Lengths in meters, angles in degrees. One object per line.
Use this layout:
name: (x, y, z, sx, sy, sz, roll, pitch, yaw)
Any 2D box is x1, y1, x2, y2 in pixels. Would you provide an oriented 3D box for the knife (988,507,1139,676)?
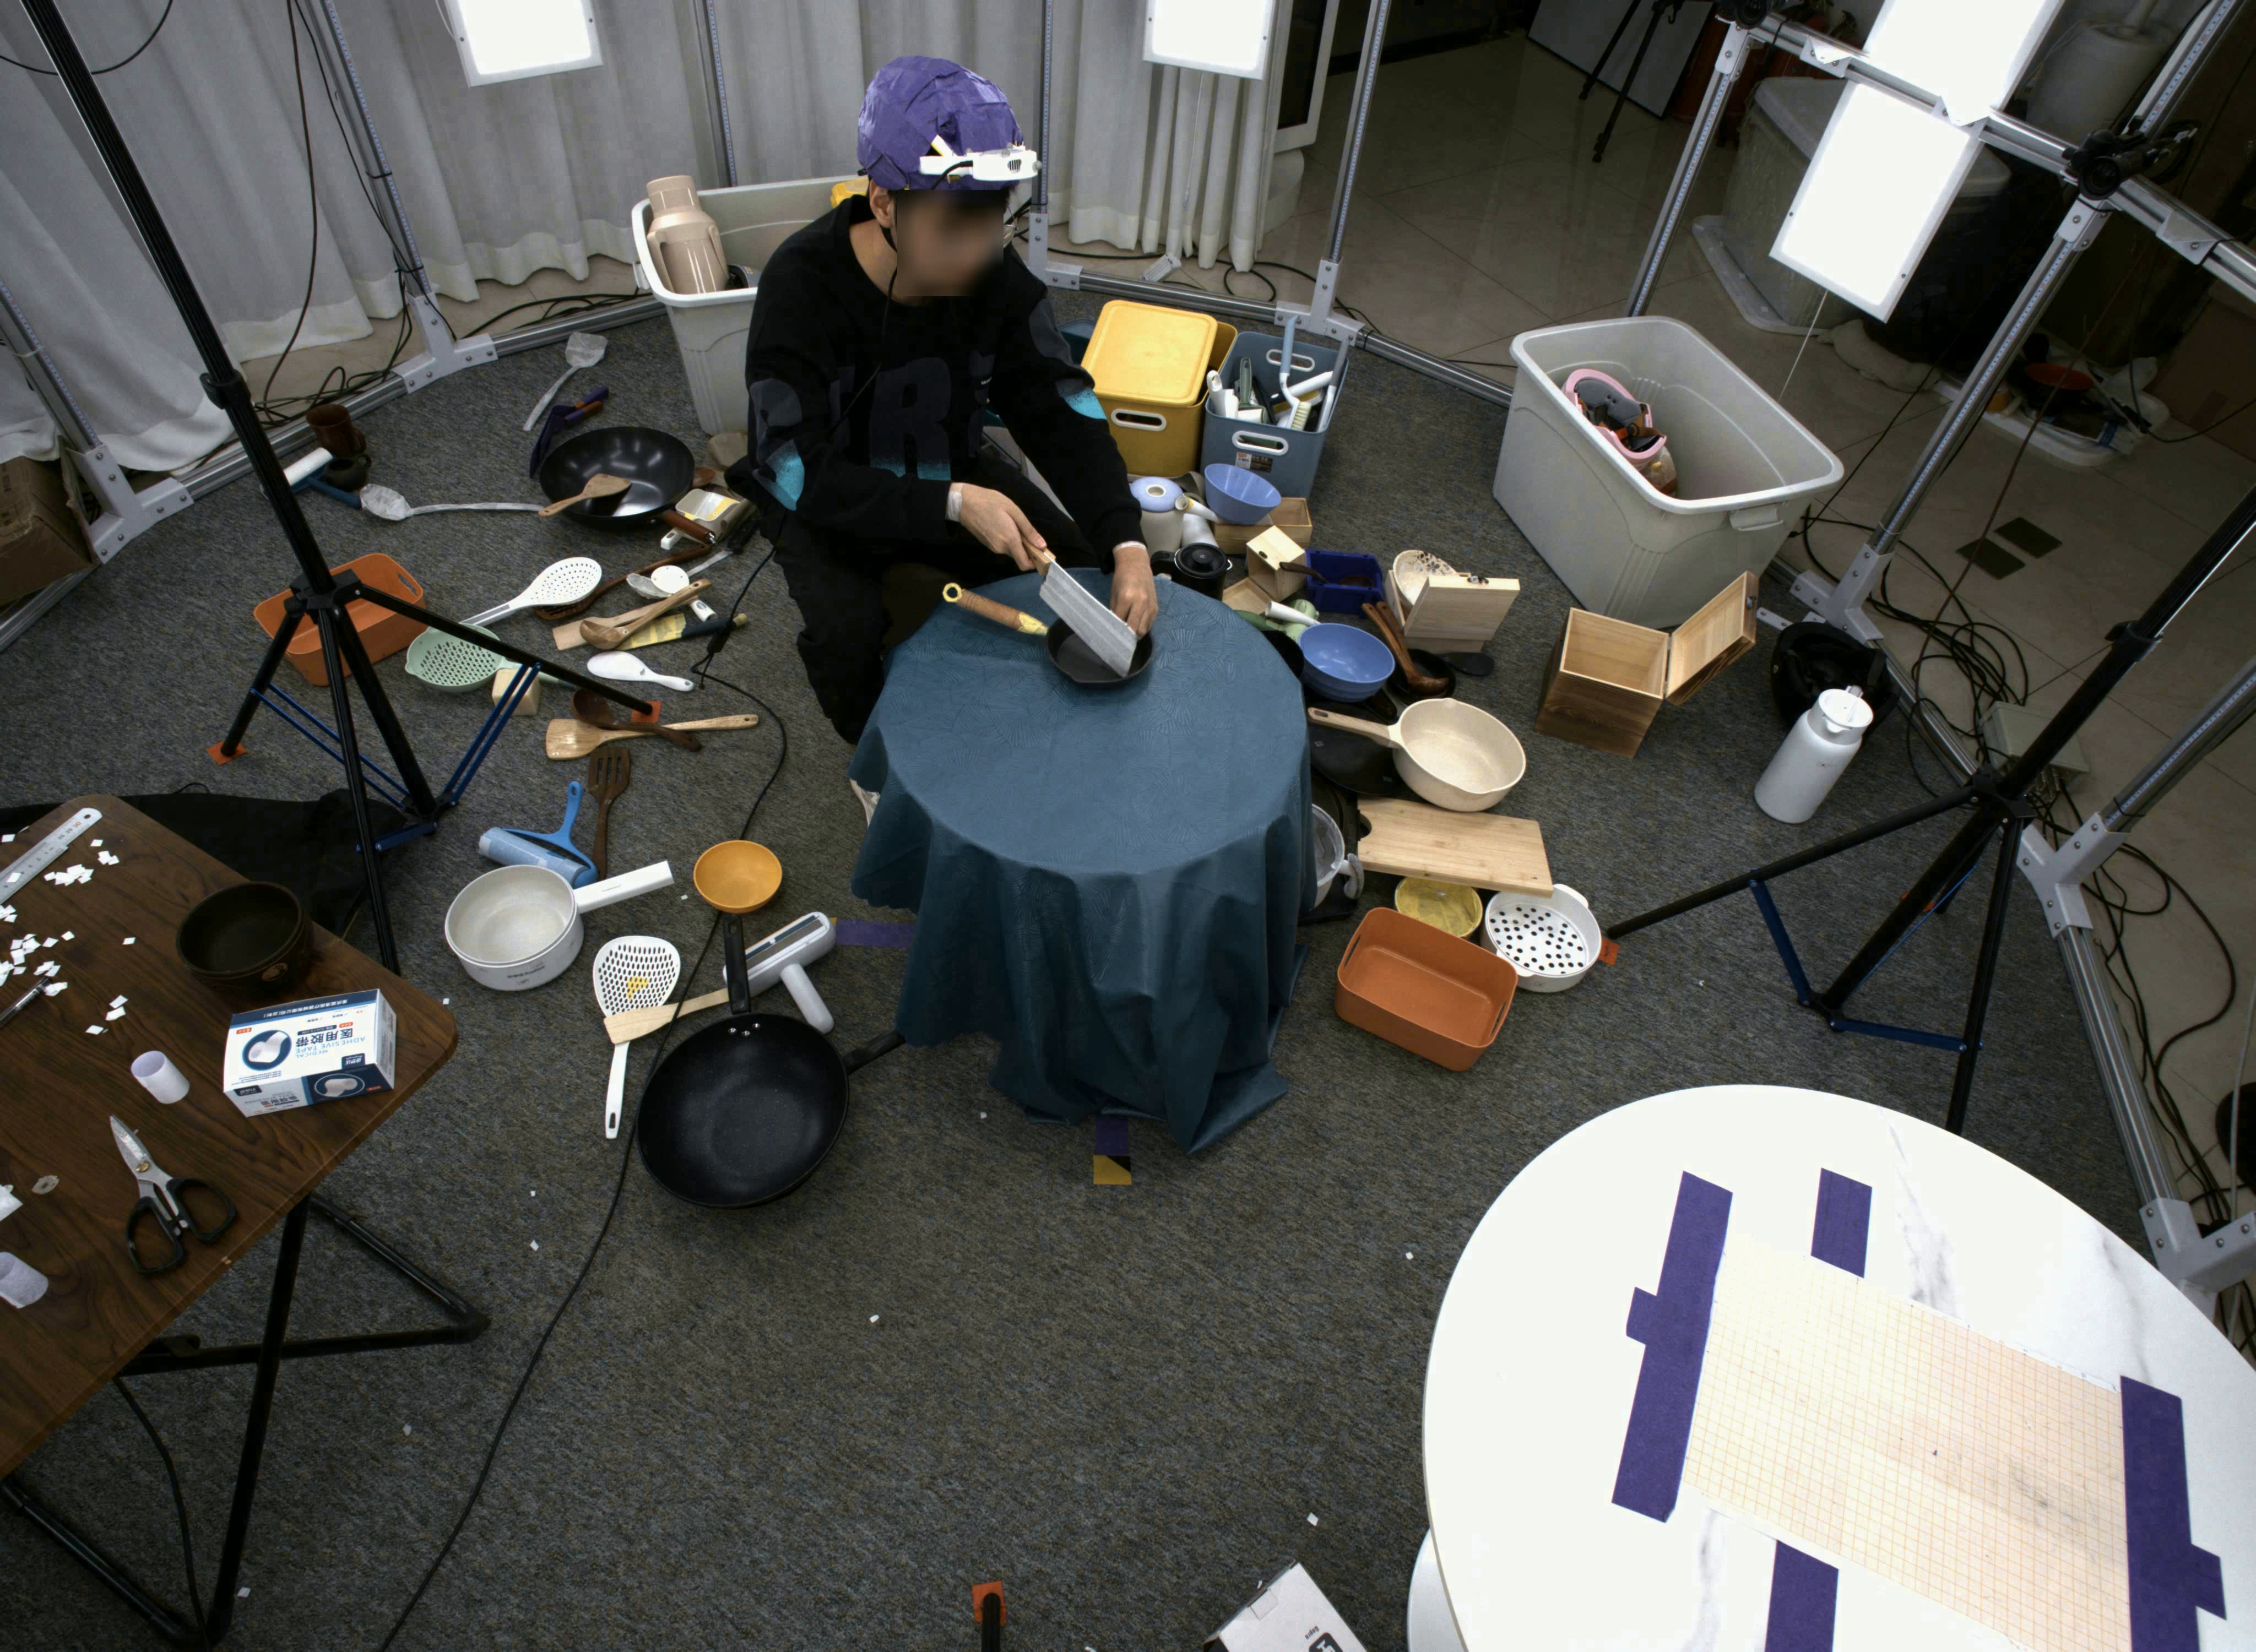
knife: (-0.092, -0.342, 1.843, 0.022, 0.112, 0.318, -36, 76, -31)

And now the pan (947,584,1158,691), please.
pan: (-0.114, -0.285, 1.876, 0.326, 0.048, 0.172, 20, 51, 12)
